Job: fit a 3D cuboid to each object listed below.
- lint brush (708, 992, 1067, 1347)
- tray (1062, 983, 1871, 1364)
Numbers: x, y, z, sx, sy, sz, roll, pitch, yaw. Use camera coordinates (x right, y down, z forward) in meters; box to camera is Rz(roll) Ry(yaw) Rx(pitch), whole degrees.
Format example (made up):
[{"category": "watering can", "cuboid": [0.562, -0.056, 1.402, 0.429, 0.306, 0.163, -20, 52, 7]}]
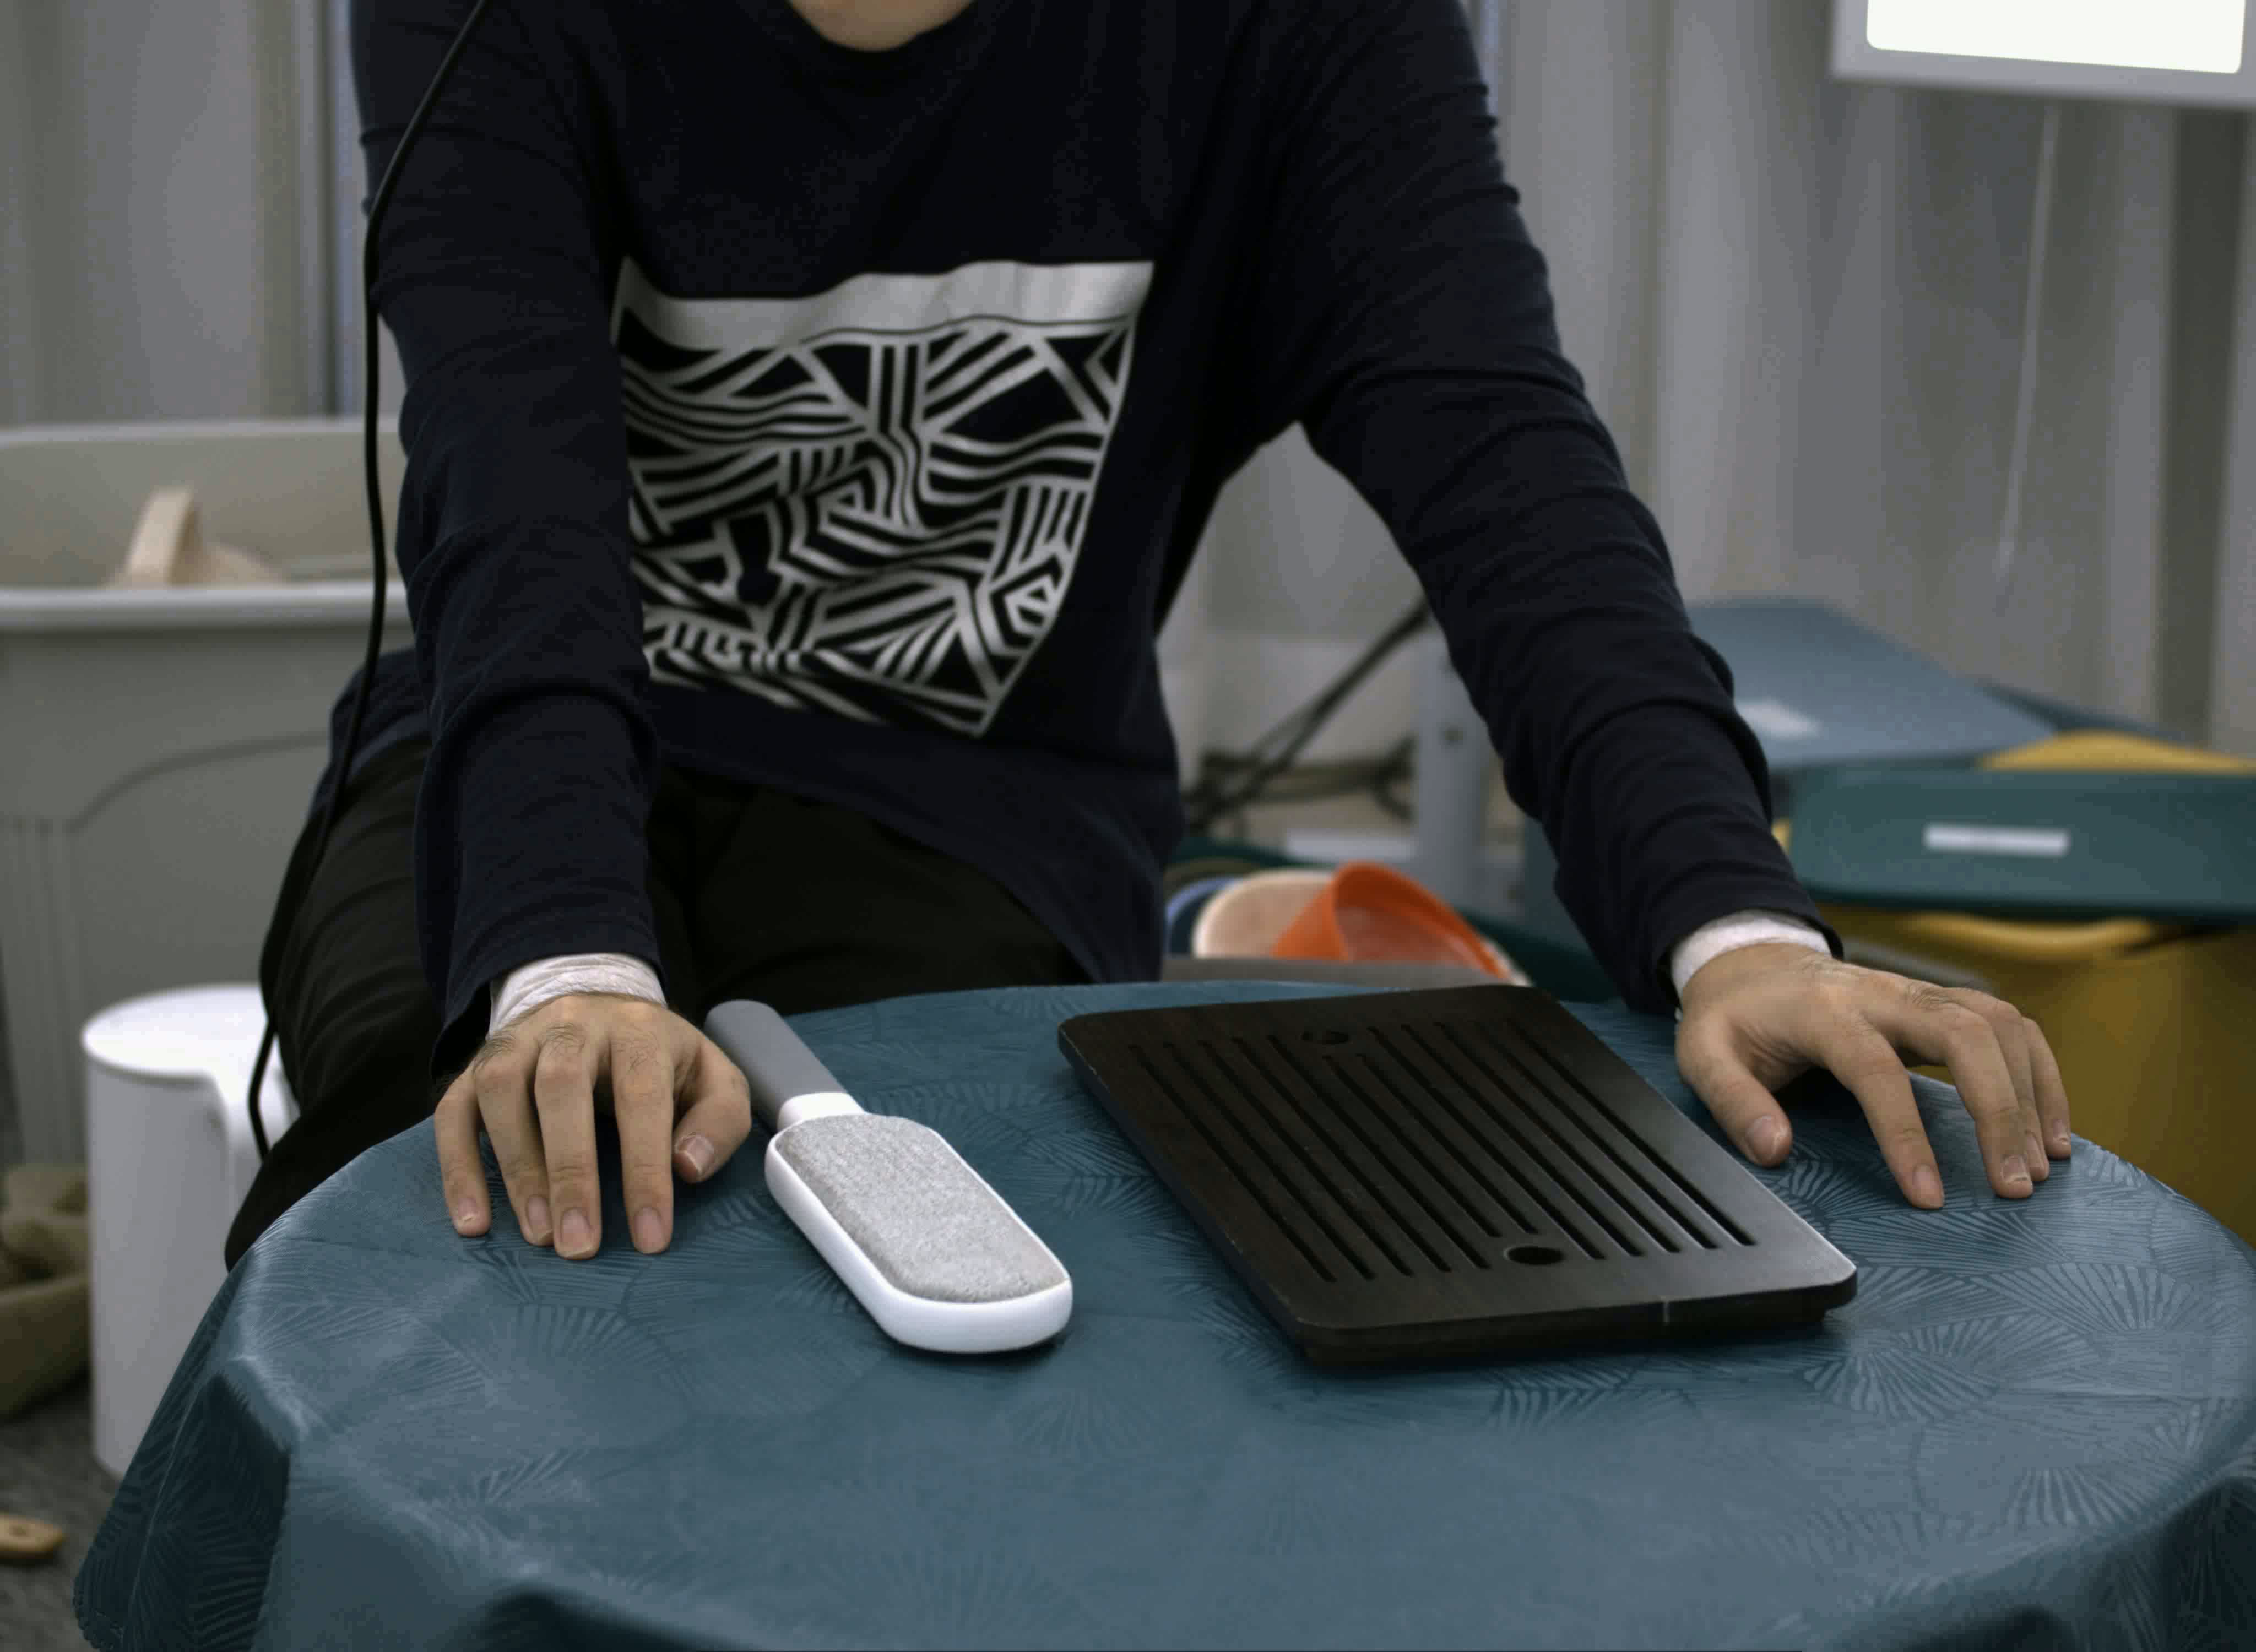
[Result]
[{"category": "lint brush", "cuboid": [-0.082, 0.101, 1.615, 0.060, 0.021, 0.305, -10, 18, -16]}, {"category": "tray", "cuboid": [0.096, 0.104, 1.628, 0.170, 0.019, 0.303, -4, 16, -15]}]
